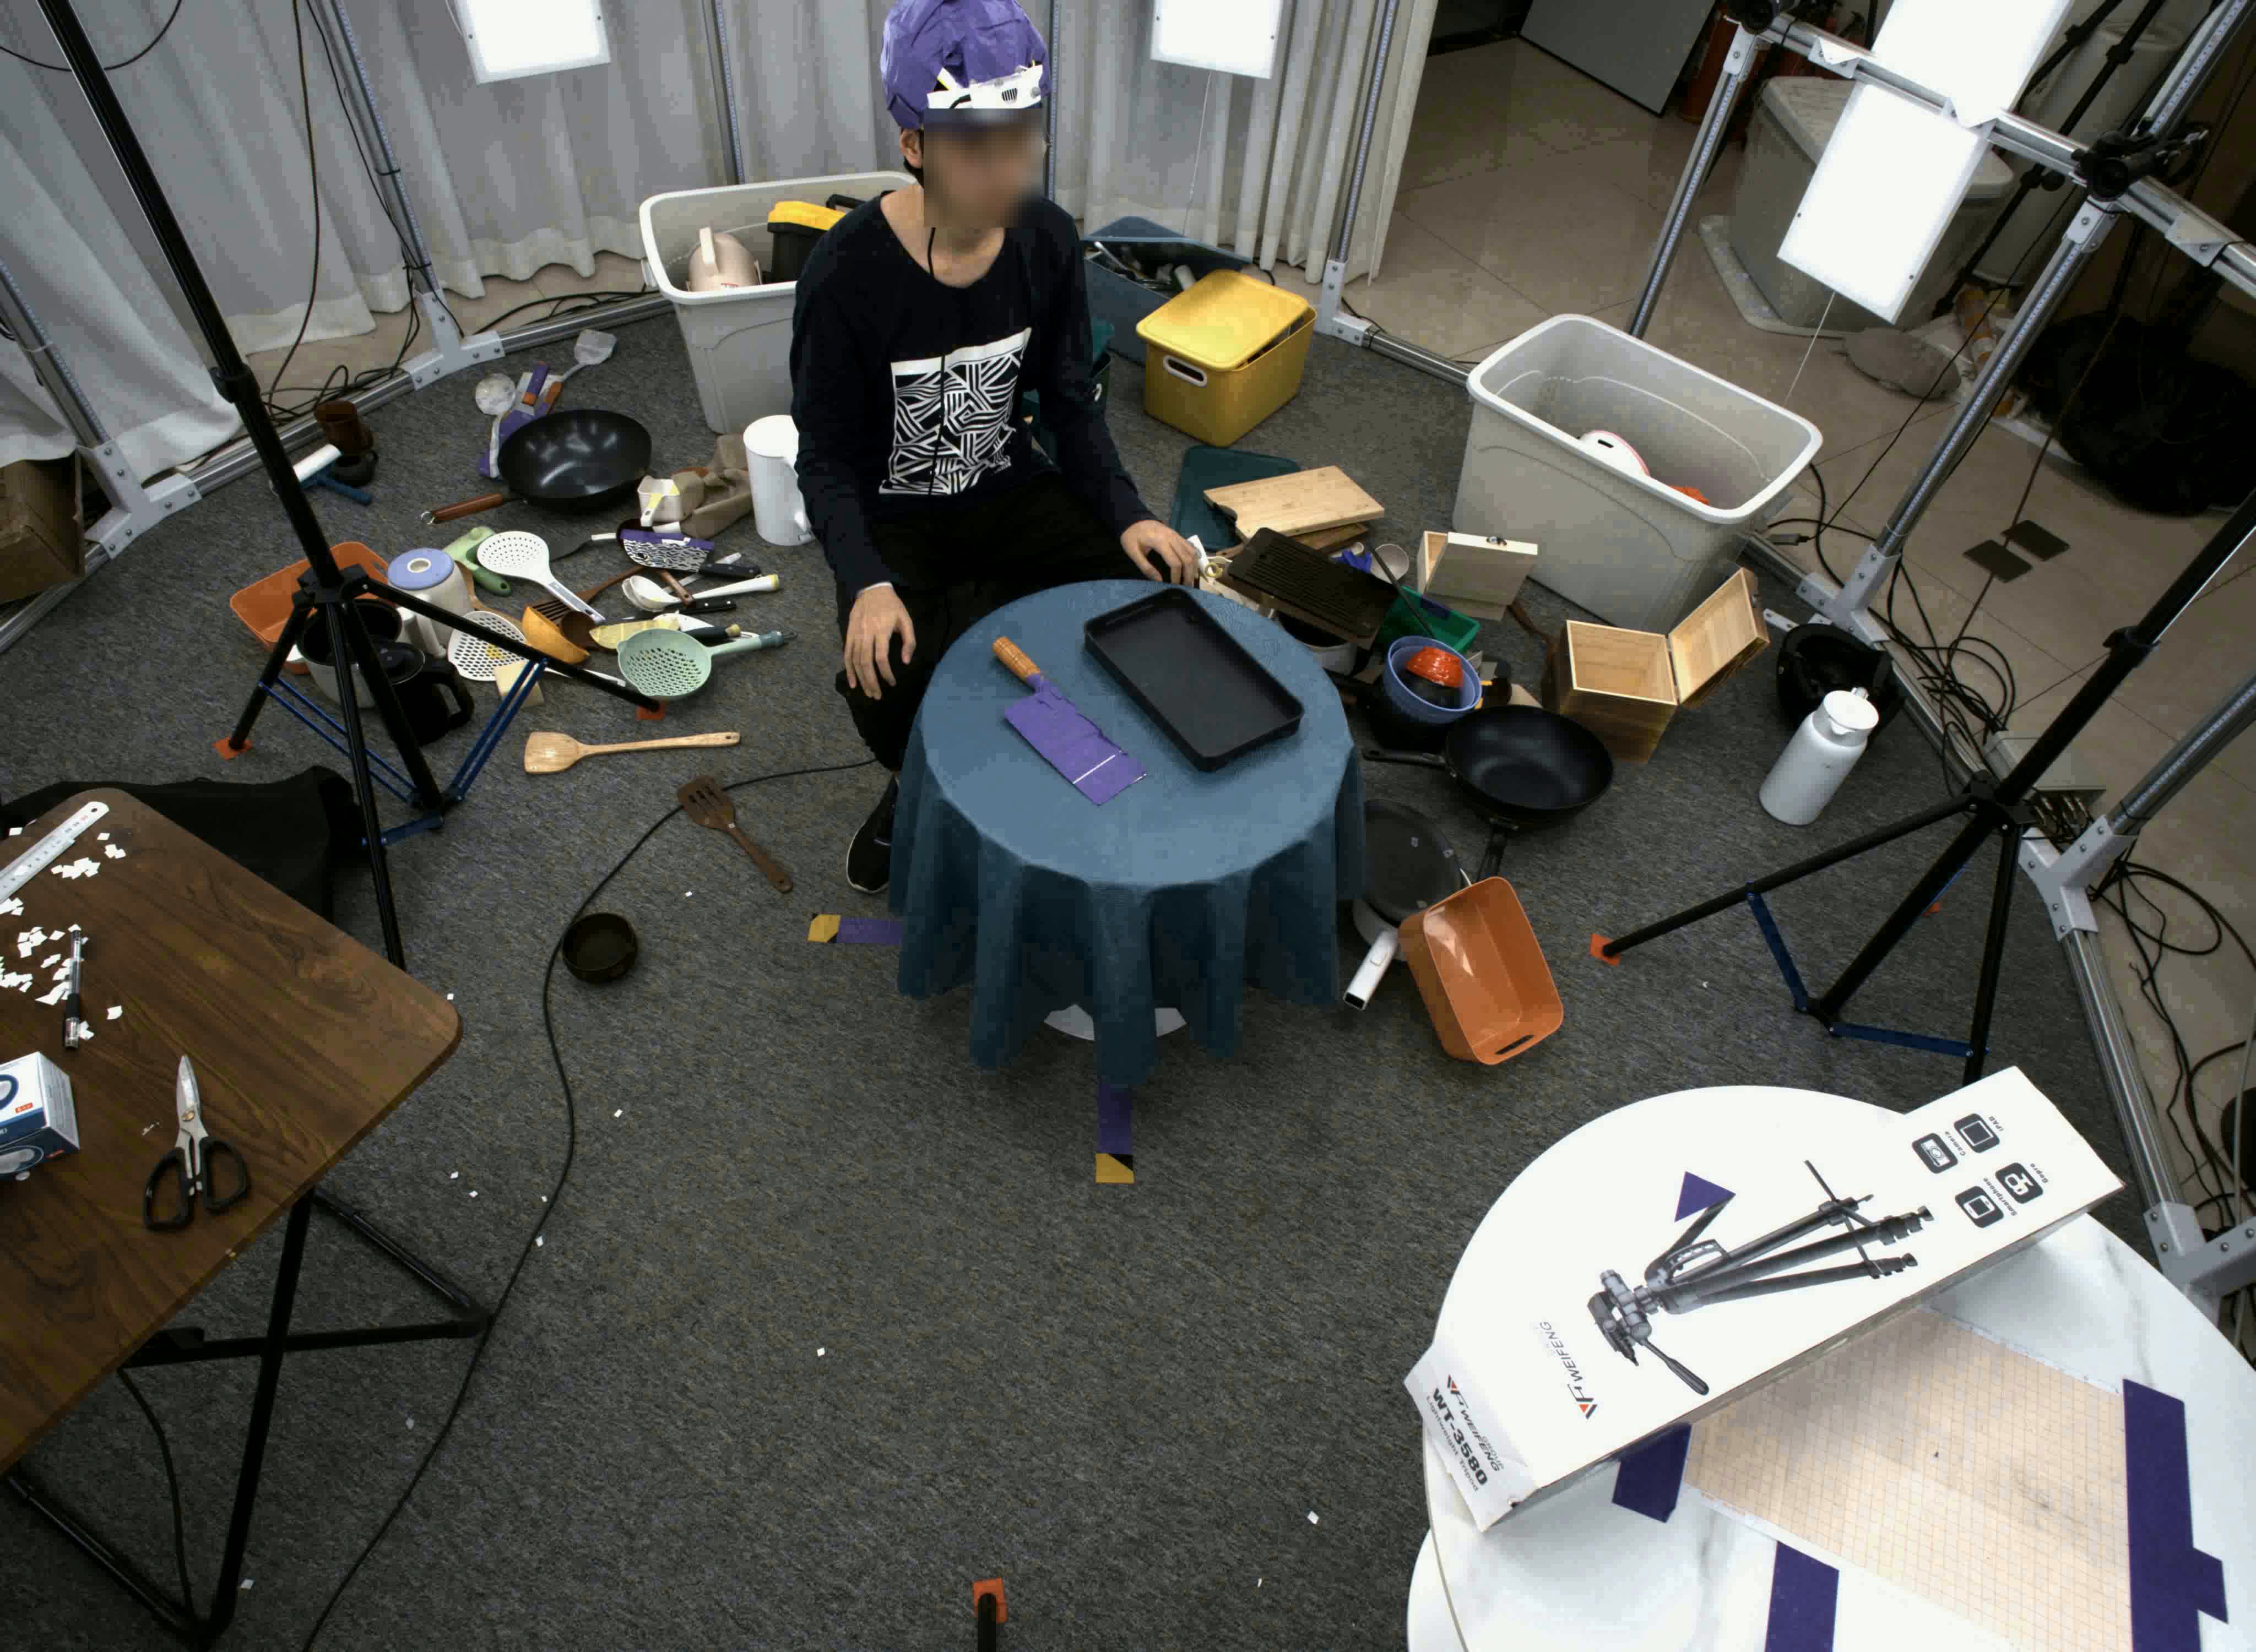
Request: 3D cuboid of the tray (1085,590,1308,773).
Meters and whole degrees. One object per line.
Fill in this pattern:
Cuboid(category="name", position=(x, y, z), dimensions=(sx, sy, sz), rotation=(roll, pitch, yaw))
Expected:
Cuboid(category="tray", position=(0.093, -0.213, 1.837), dimensions=(0.185, 0.036, 0.324), rotation=(-26, 54, -24))

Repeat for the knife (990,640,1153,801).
Cuboid(category="knife", position=(-0.106, -0.150, 1.772), dimensions=(0.104, 0.031, 0.320), rotation=(-32, 59, -28))
